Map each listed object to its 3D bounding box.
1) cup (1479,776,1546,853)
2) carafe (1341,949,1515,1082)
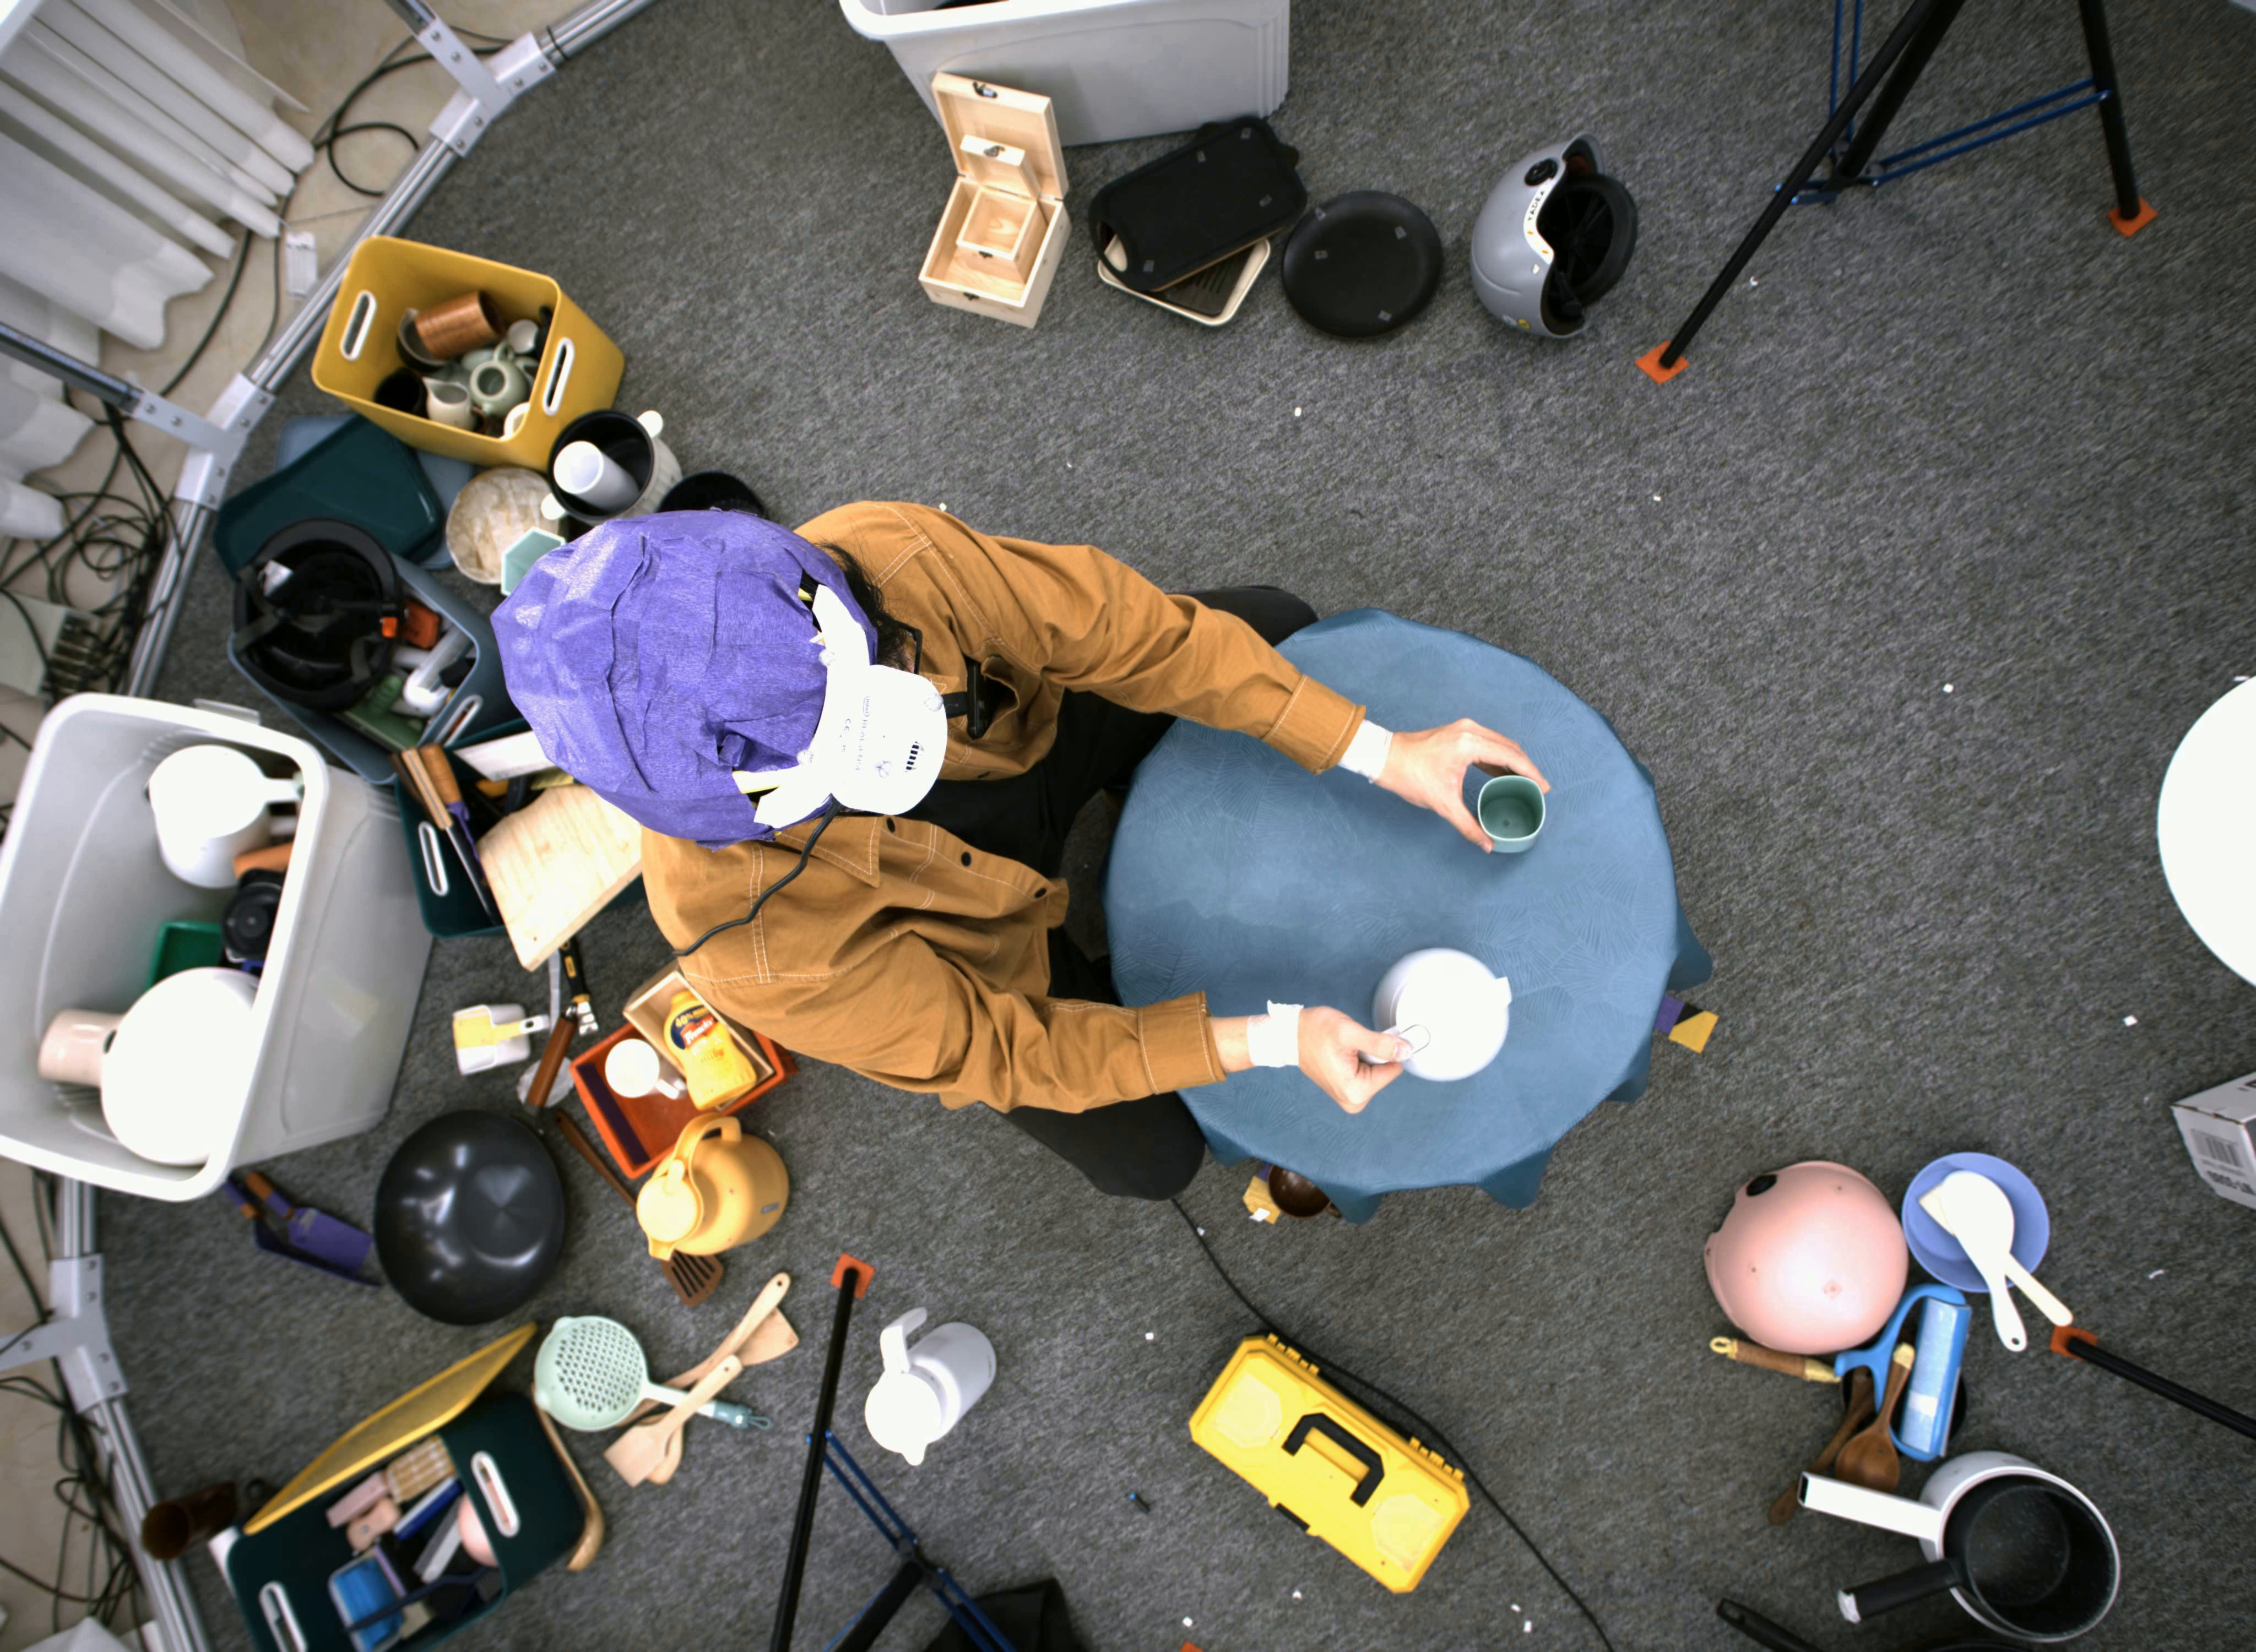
[{"bbox_3d":[0.381,-0.012,1.372,0.067,0.132,0.066,-1,83,14],"label":"cup"},{"bbox_3d":[0.285,0.191,1.327,0.169,0.249,0.131,-28,81,7],"label":"carafe"}]
